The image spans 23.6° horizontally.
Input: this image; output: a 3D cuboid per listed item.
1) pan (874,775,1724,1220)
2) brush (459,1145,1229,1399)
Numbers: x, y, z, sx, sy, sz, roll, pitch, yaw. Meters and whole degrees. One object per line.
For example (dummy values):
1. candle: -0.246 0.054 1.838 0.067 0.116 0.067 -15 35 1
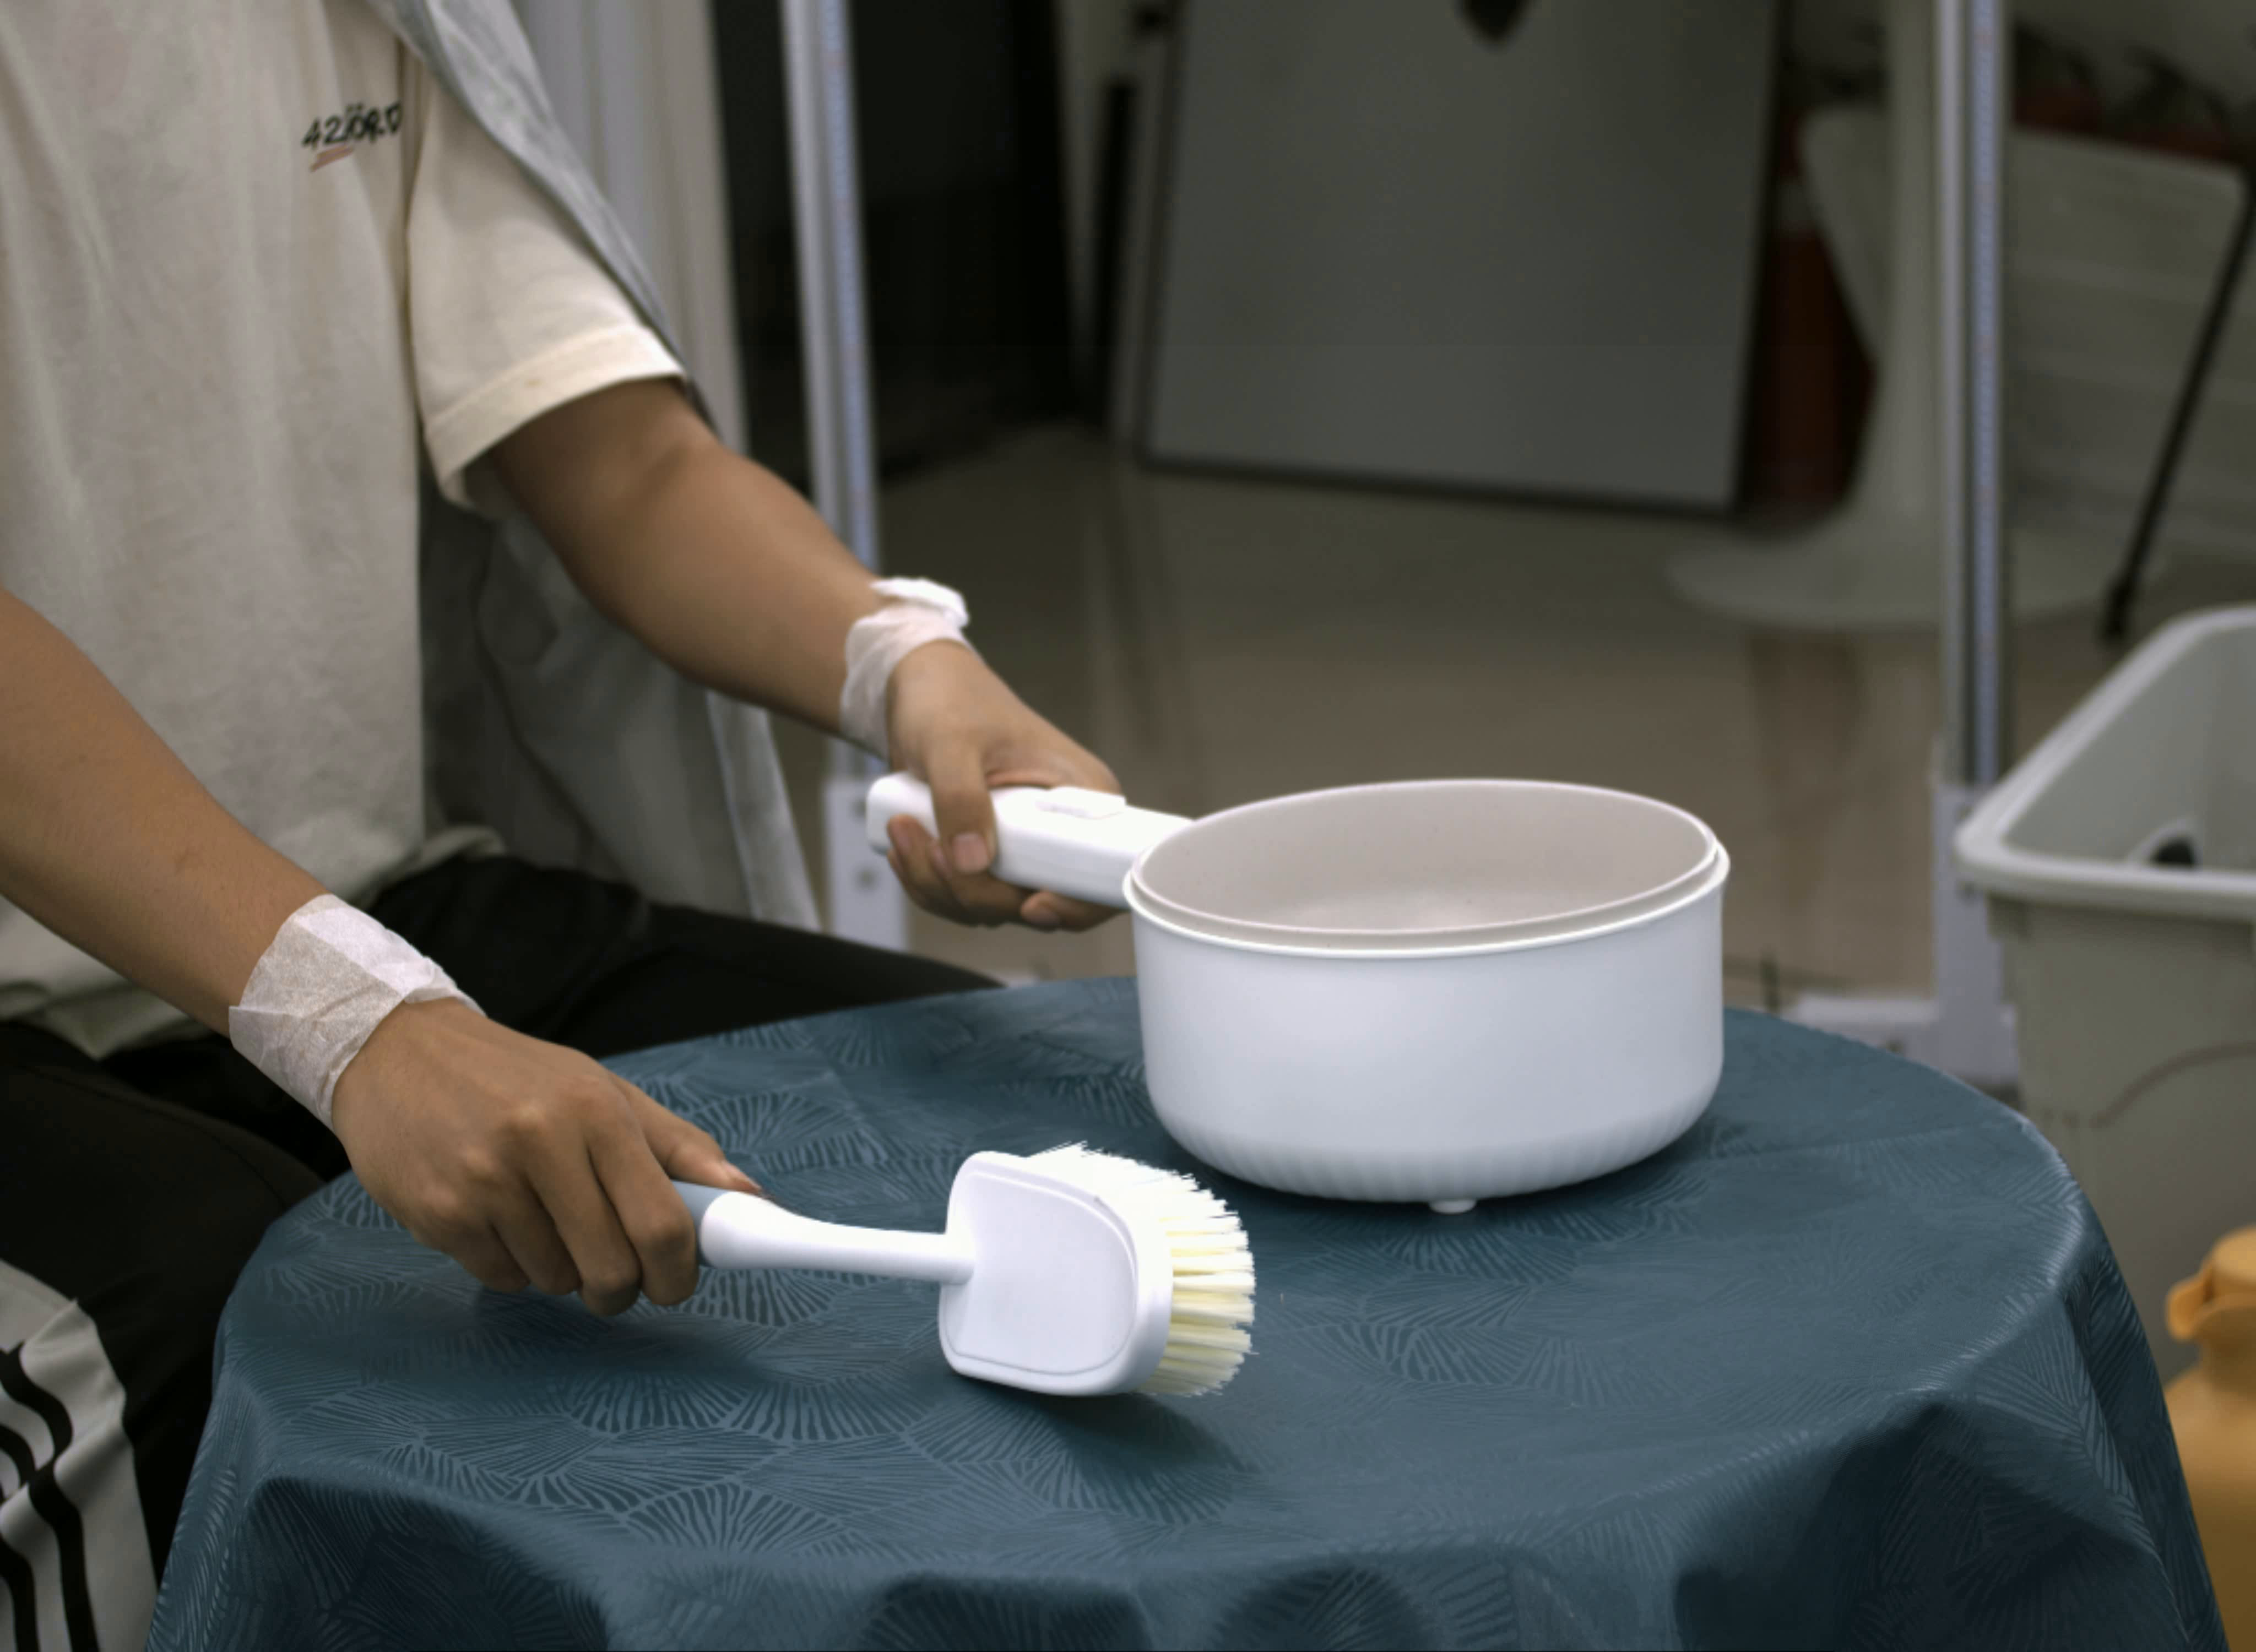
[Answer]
1. pan: 0.046 0.050 1.846 0.358 0.103 0.197 9 19 44
2. brush: -0.079 0.123 1.648 0.328 0.084 0.083 4 52 47
